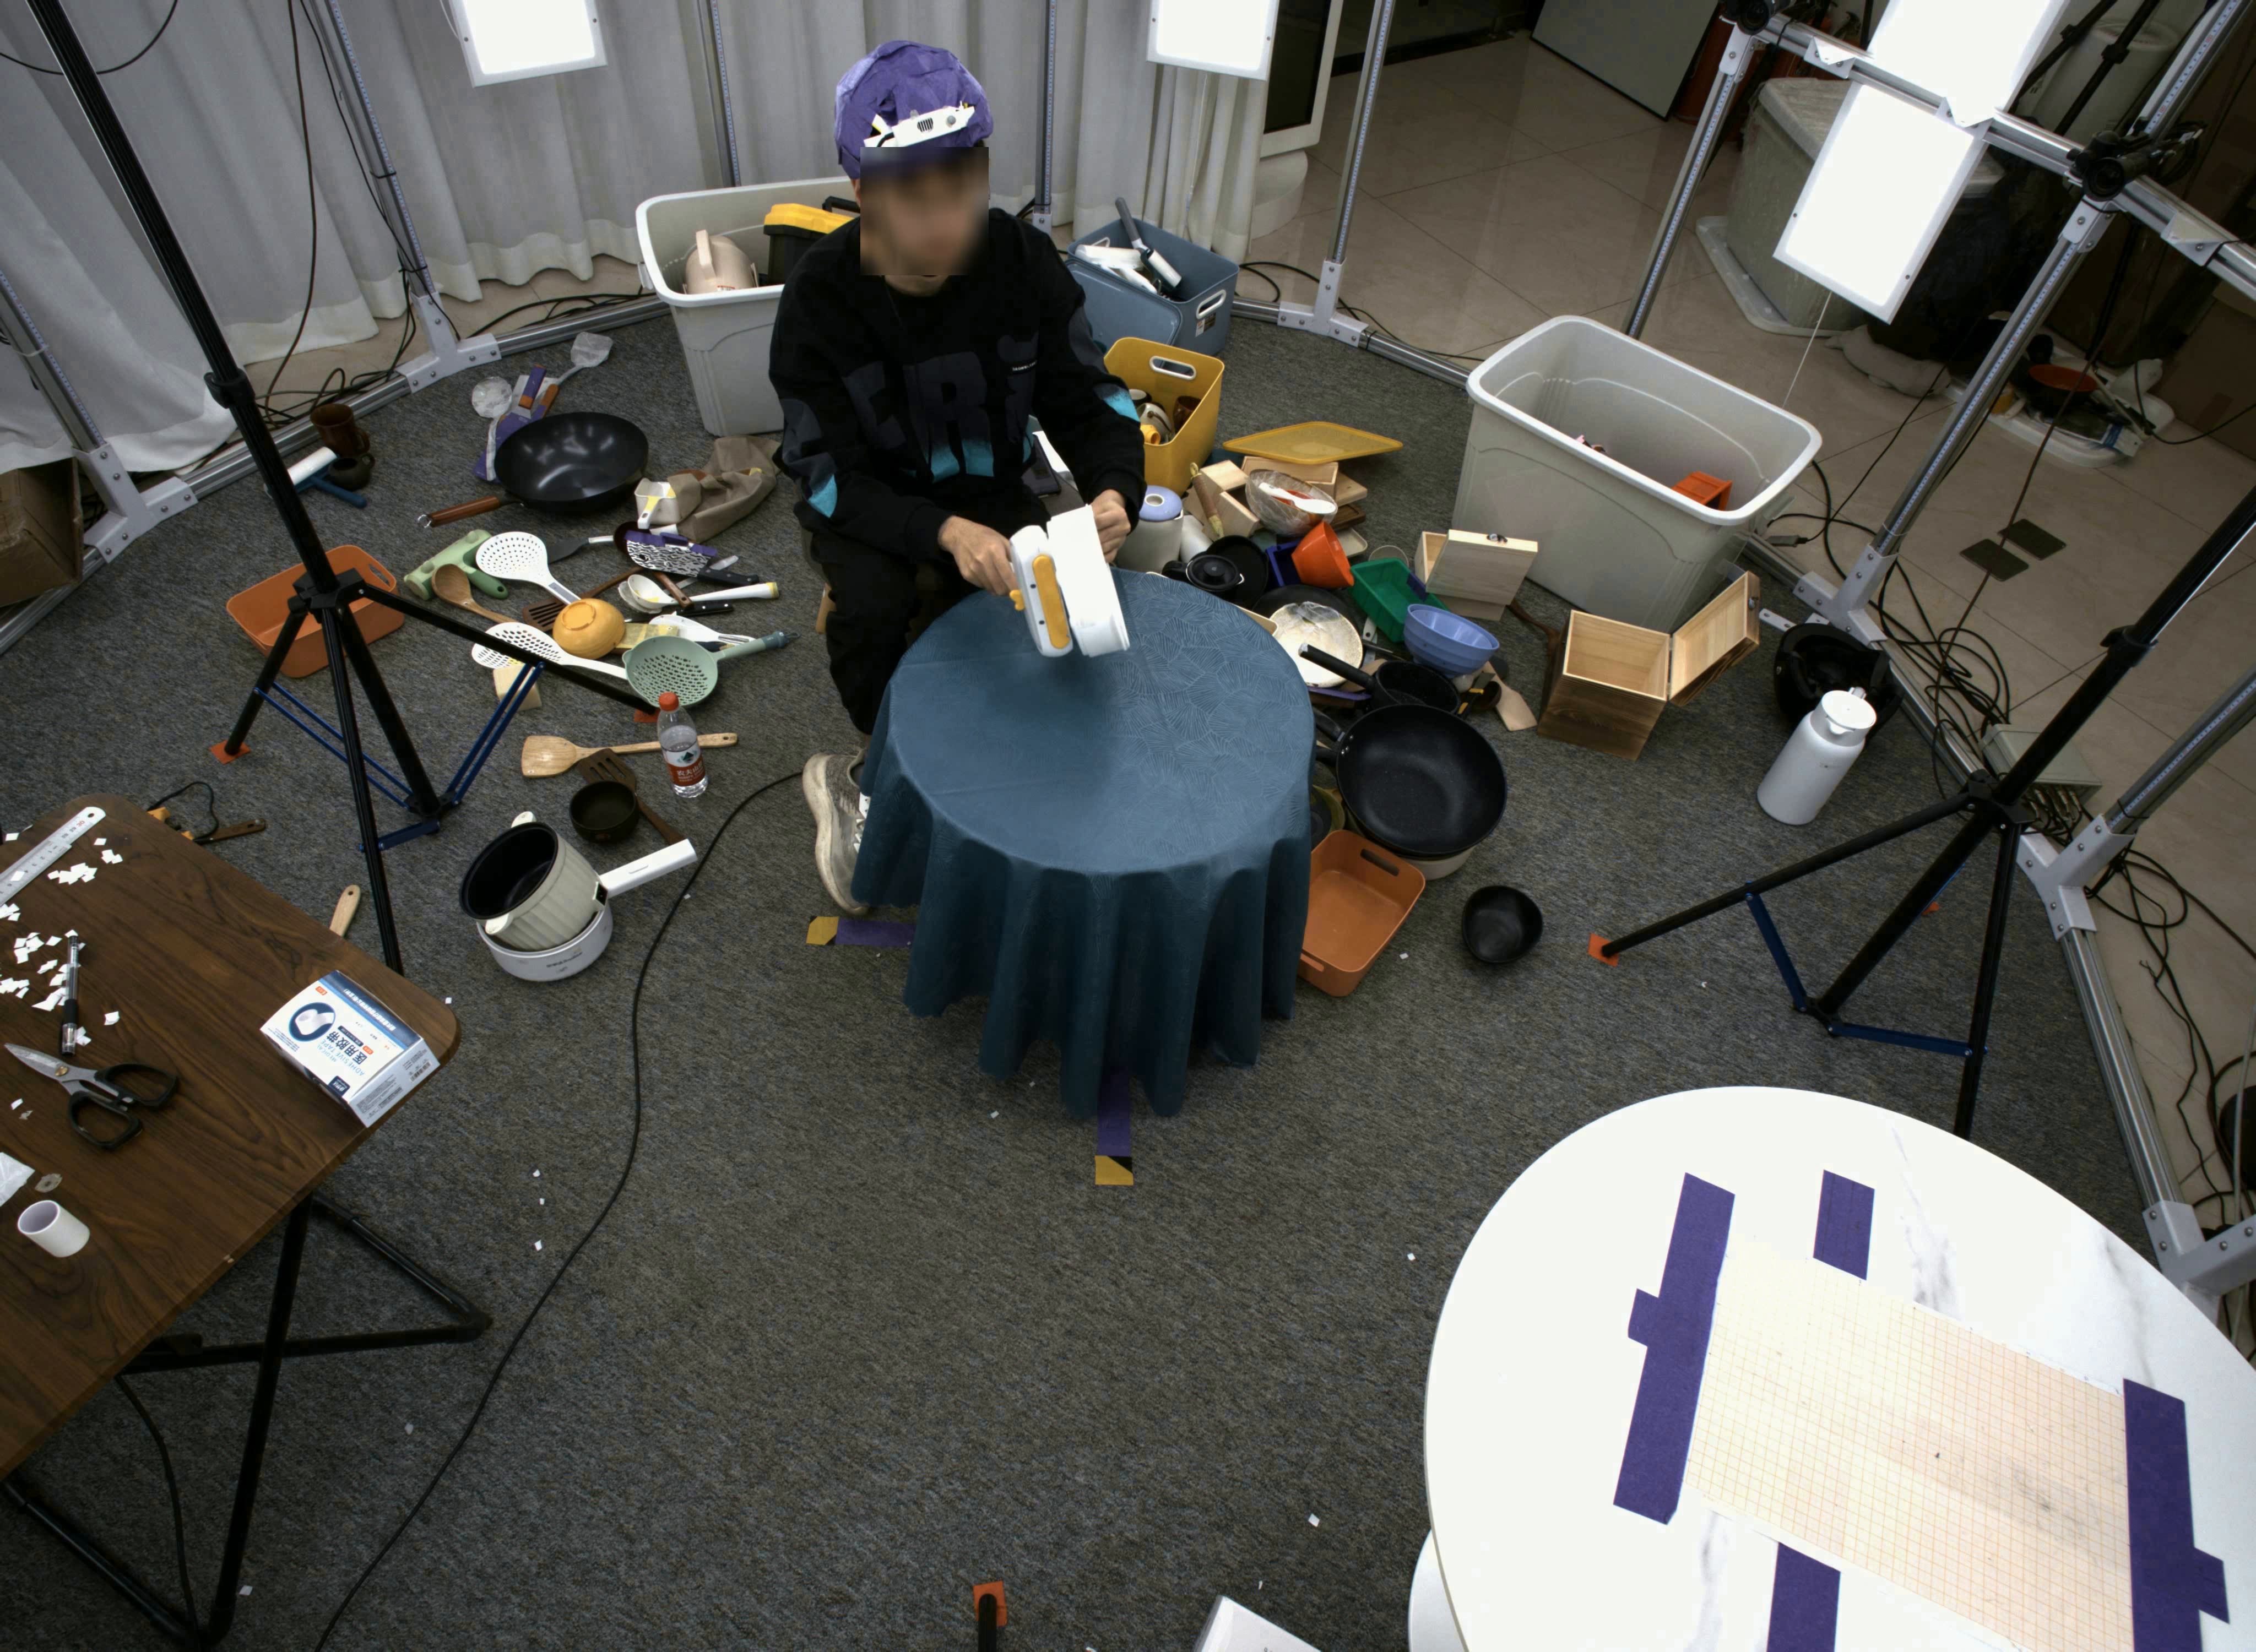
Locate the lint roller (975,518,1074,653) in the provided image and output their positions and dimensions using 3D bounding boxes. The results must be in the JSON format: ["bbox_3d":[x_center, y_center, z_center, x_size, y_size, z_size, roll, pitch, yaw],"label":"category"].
[{"bbox_3d":[-0.153,-0.348,1.808,0.074,0.188,0.196,-30,37,-13],"label":"lint roller"}]

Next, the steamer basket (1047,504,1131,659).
[{"bbox_3d":[-0.053,-0.323,1.719,0.069,0.197,0.236,-15,55,4],"label":"steamer basket"}]
